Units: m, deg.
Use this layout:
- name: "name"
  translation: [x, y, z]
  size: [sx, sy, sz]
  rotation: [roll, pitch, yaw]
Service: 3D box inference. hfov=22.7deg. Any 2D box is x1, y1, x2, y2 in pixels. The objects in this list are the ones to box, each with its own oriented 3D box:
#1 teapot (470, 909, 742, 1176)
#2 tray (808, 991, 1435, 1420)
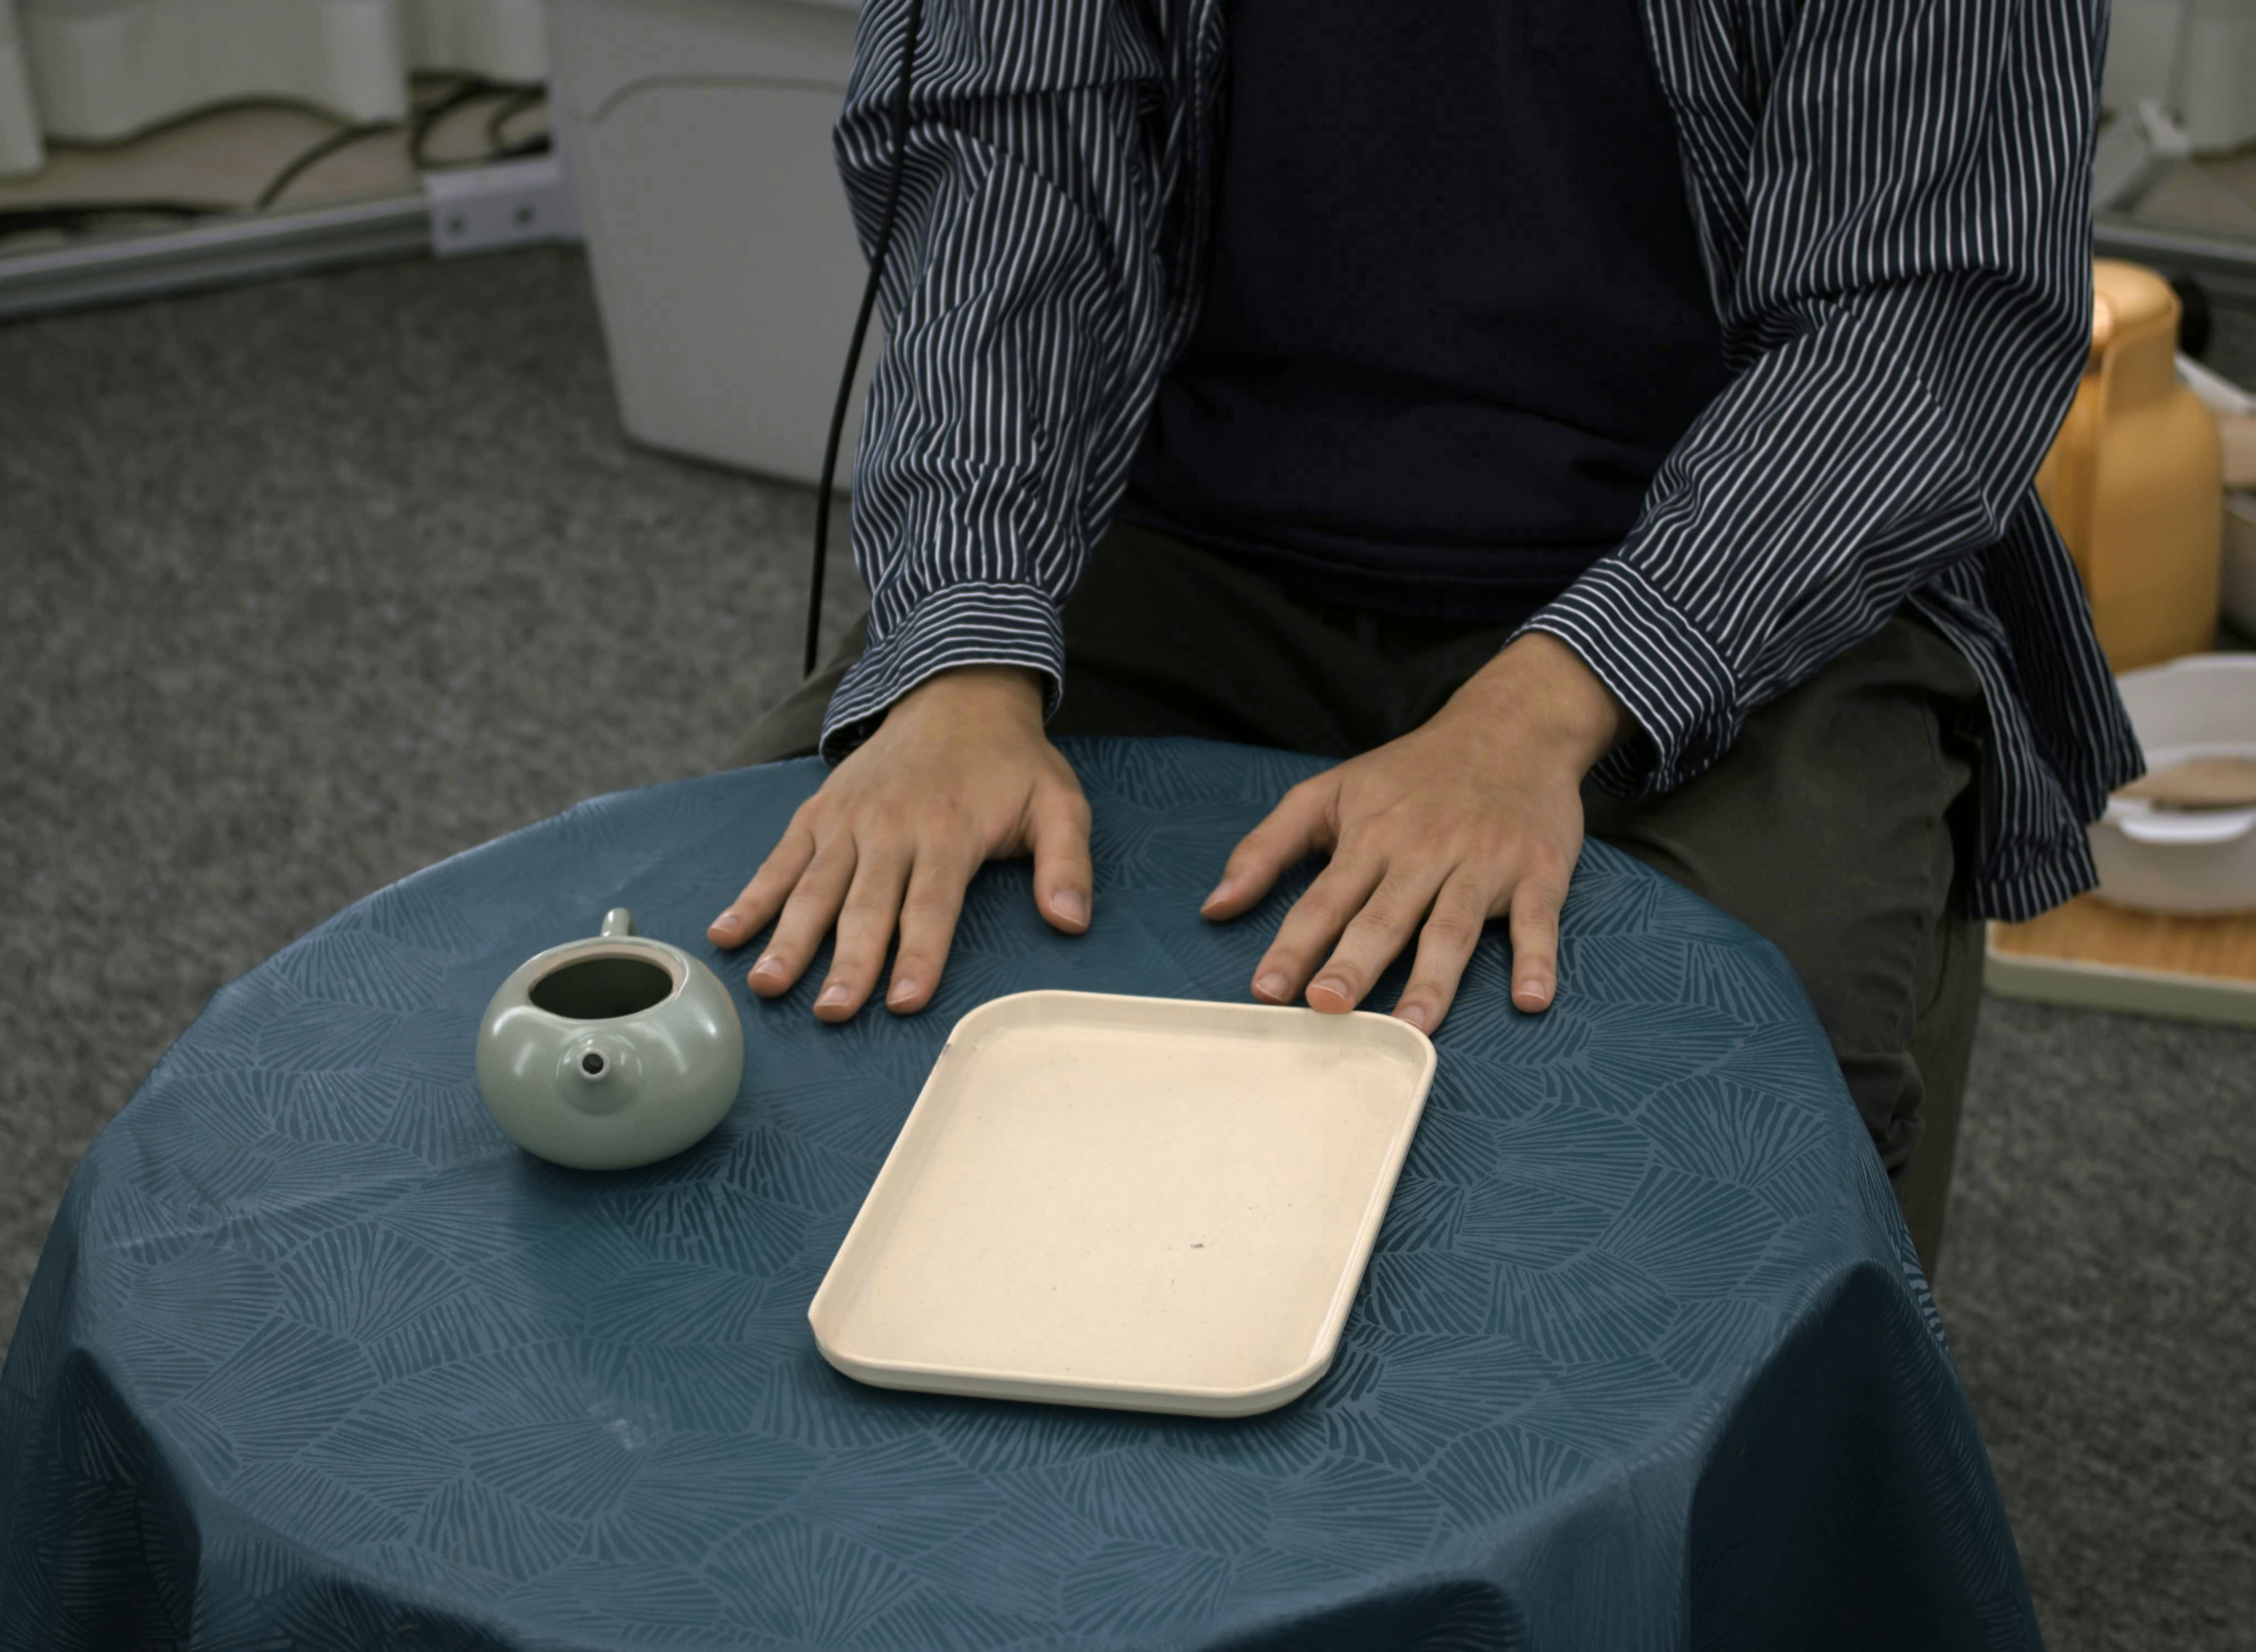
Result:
- name: "teapot"
  translation: [-0.175, 0.074, 1.902]
  size: [0.091, 0.060, 0.130]
  rotation: [-3, 27, 5]
- name: "tray"
  translation: [0.001, 0.123, 1.835]
  size: [0.170, 0.017, 0.244]
  rotation: [4, 28, 13]
